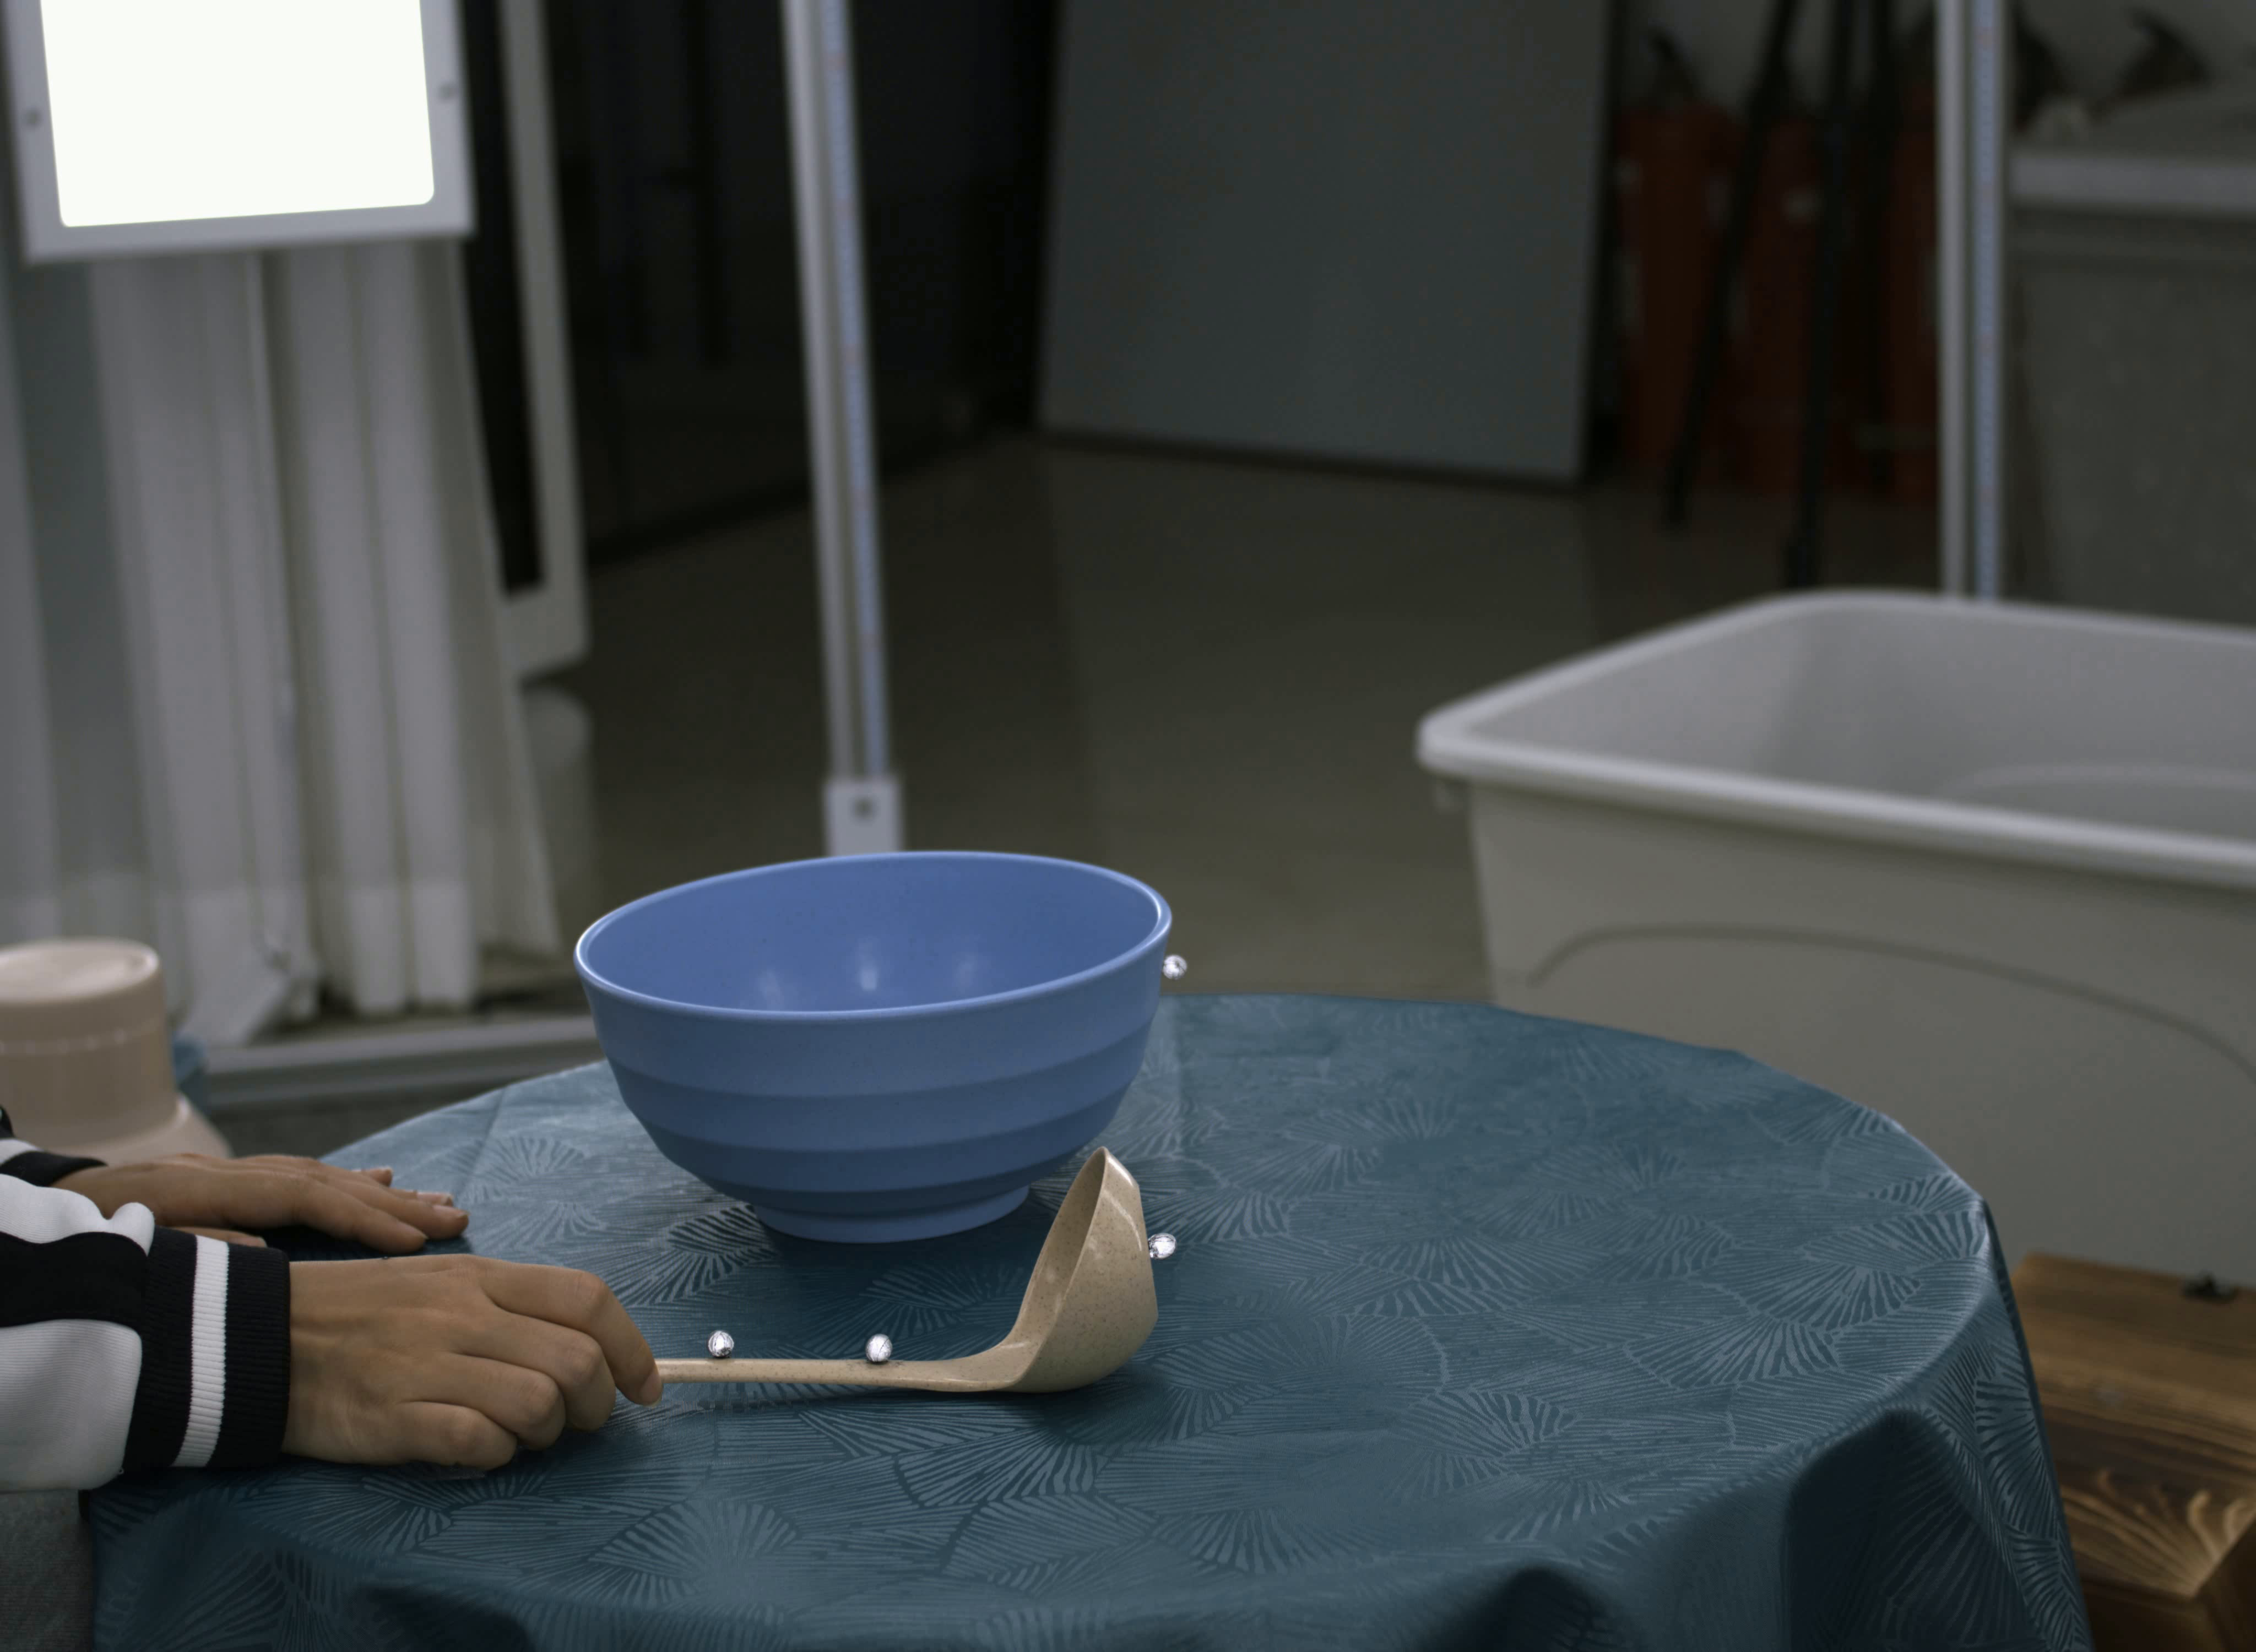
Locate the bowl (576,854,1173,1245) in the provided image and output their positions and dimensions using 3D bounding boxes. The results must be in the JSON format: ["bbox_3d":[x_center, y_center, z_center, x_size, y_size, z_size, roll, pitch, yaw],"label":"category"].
[{"bbox_3d":[-0.081,0.078,1.767,0.194,0.096,0.197,-2,13,-1],"label":"bowl"}]

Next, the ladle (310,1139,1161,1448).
[{"bbox_3d":[-0.116,0.136,1.584,0.251,0.073,0.072,-4,15,-2],"label":"ladle"}]
